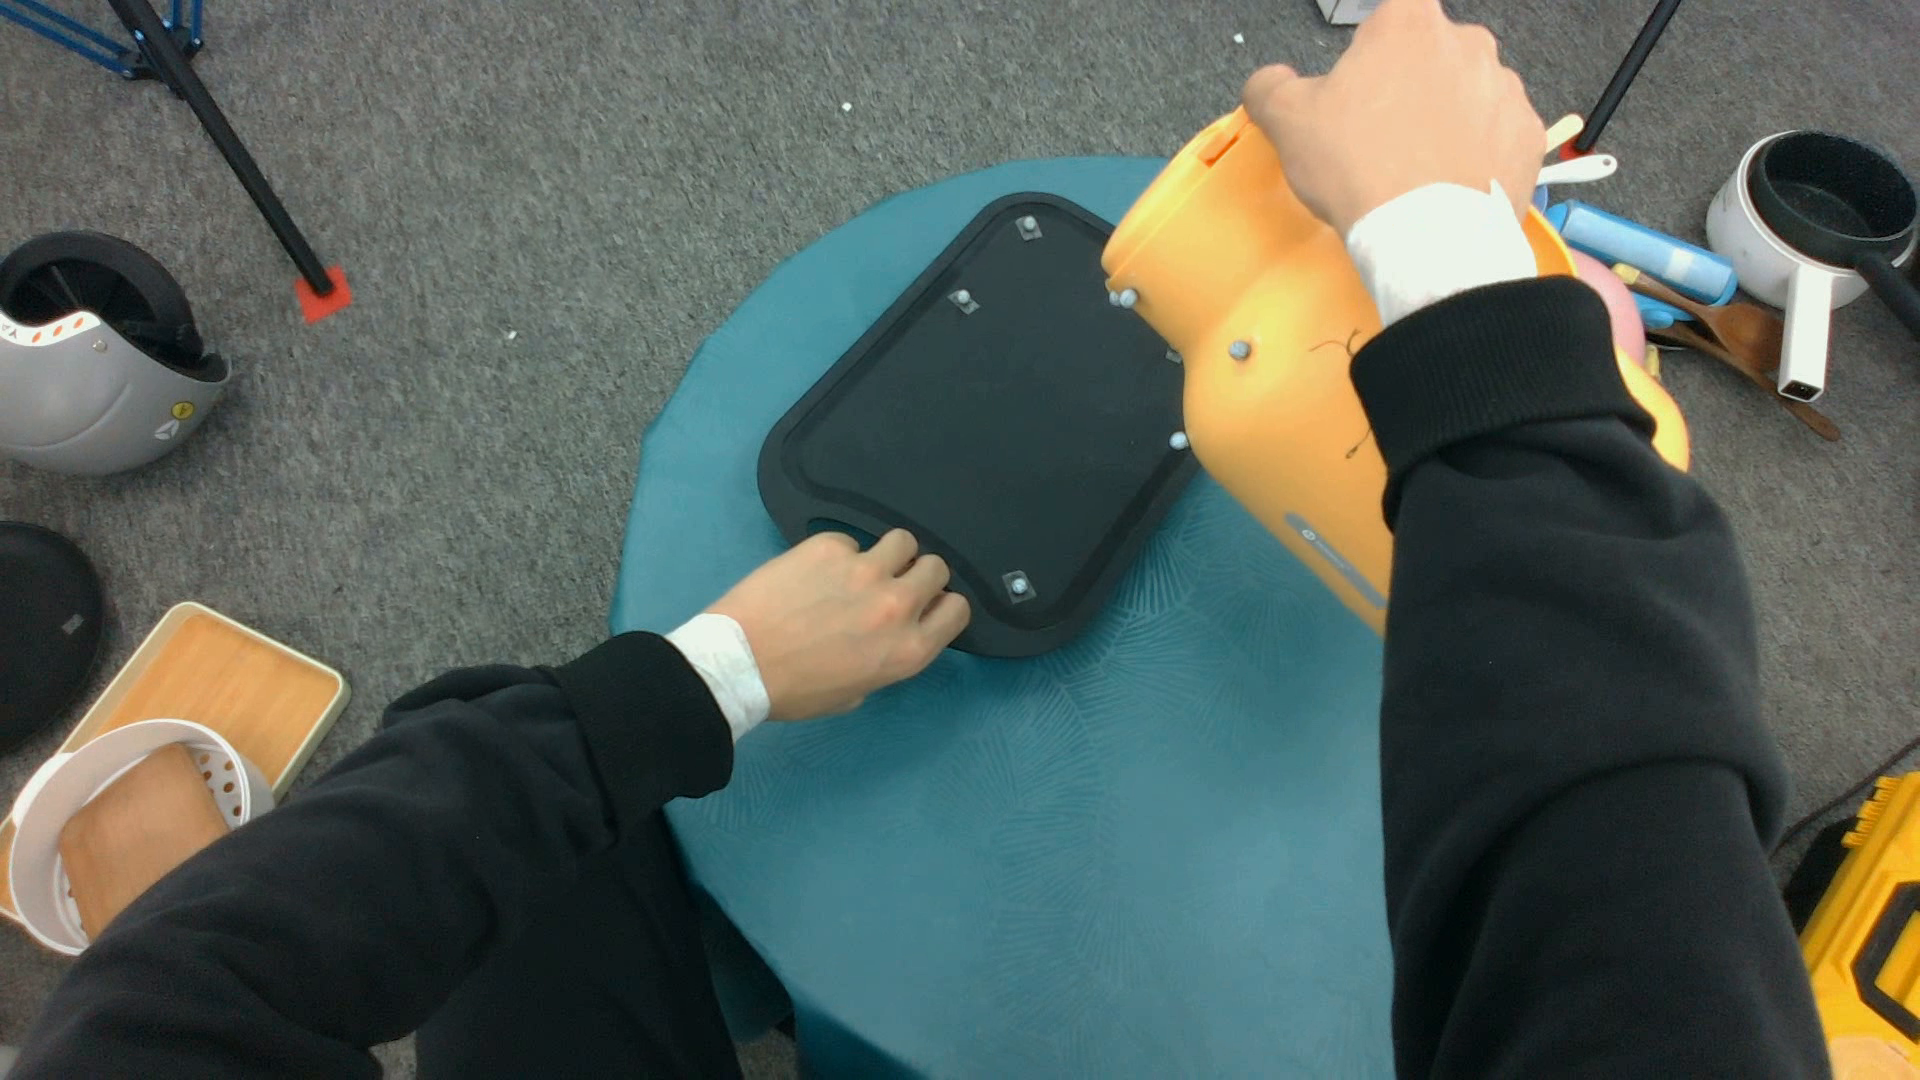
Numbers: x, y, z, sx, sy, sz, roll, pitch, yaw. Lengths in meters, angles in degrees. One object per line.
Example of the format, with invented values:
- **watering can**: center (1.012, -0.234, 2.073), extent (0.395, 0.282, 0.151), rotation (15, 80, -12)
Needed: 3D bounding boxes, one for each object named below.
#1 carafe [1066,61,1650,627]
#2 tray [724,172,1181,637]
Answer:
- **carafe**: center (0.175, -0.093, 0.616), extent (0.260, 0.201, 0.164), rotation (38, 70, -4)
- **tray**: center (0.018, -0.089, 0.799), extent (0.211, 0.010, 0.327), rotation (33, 60, 10)
